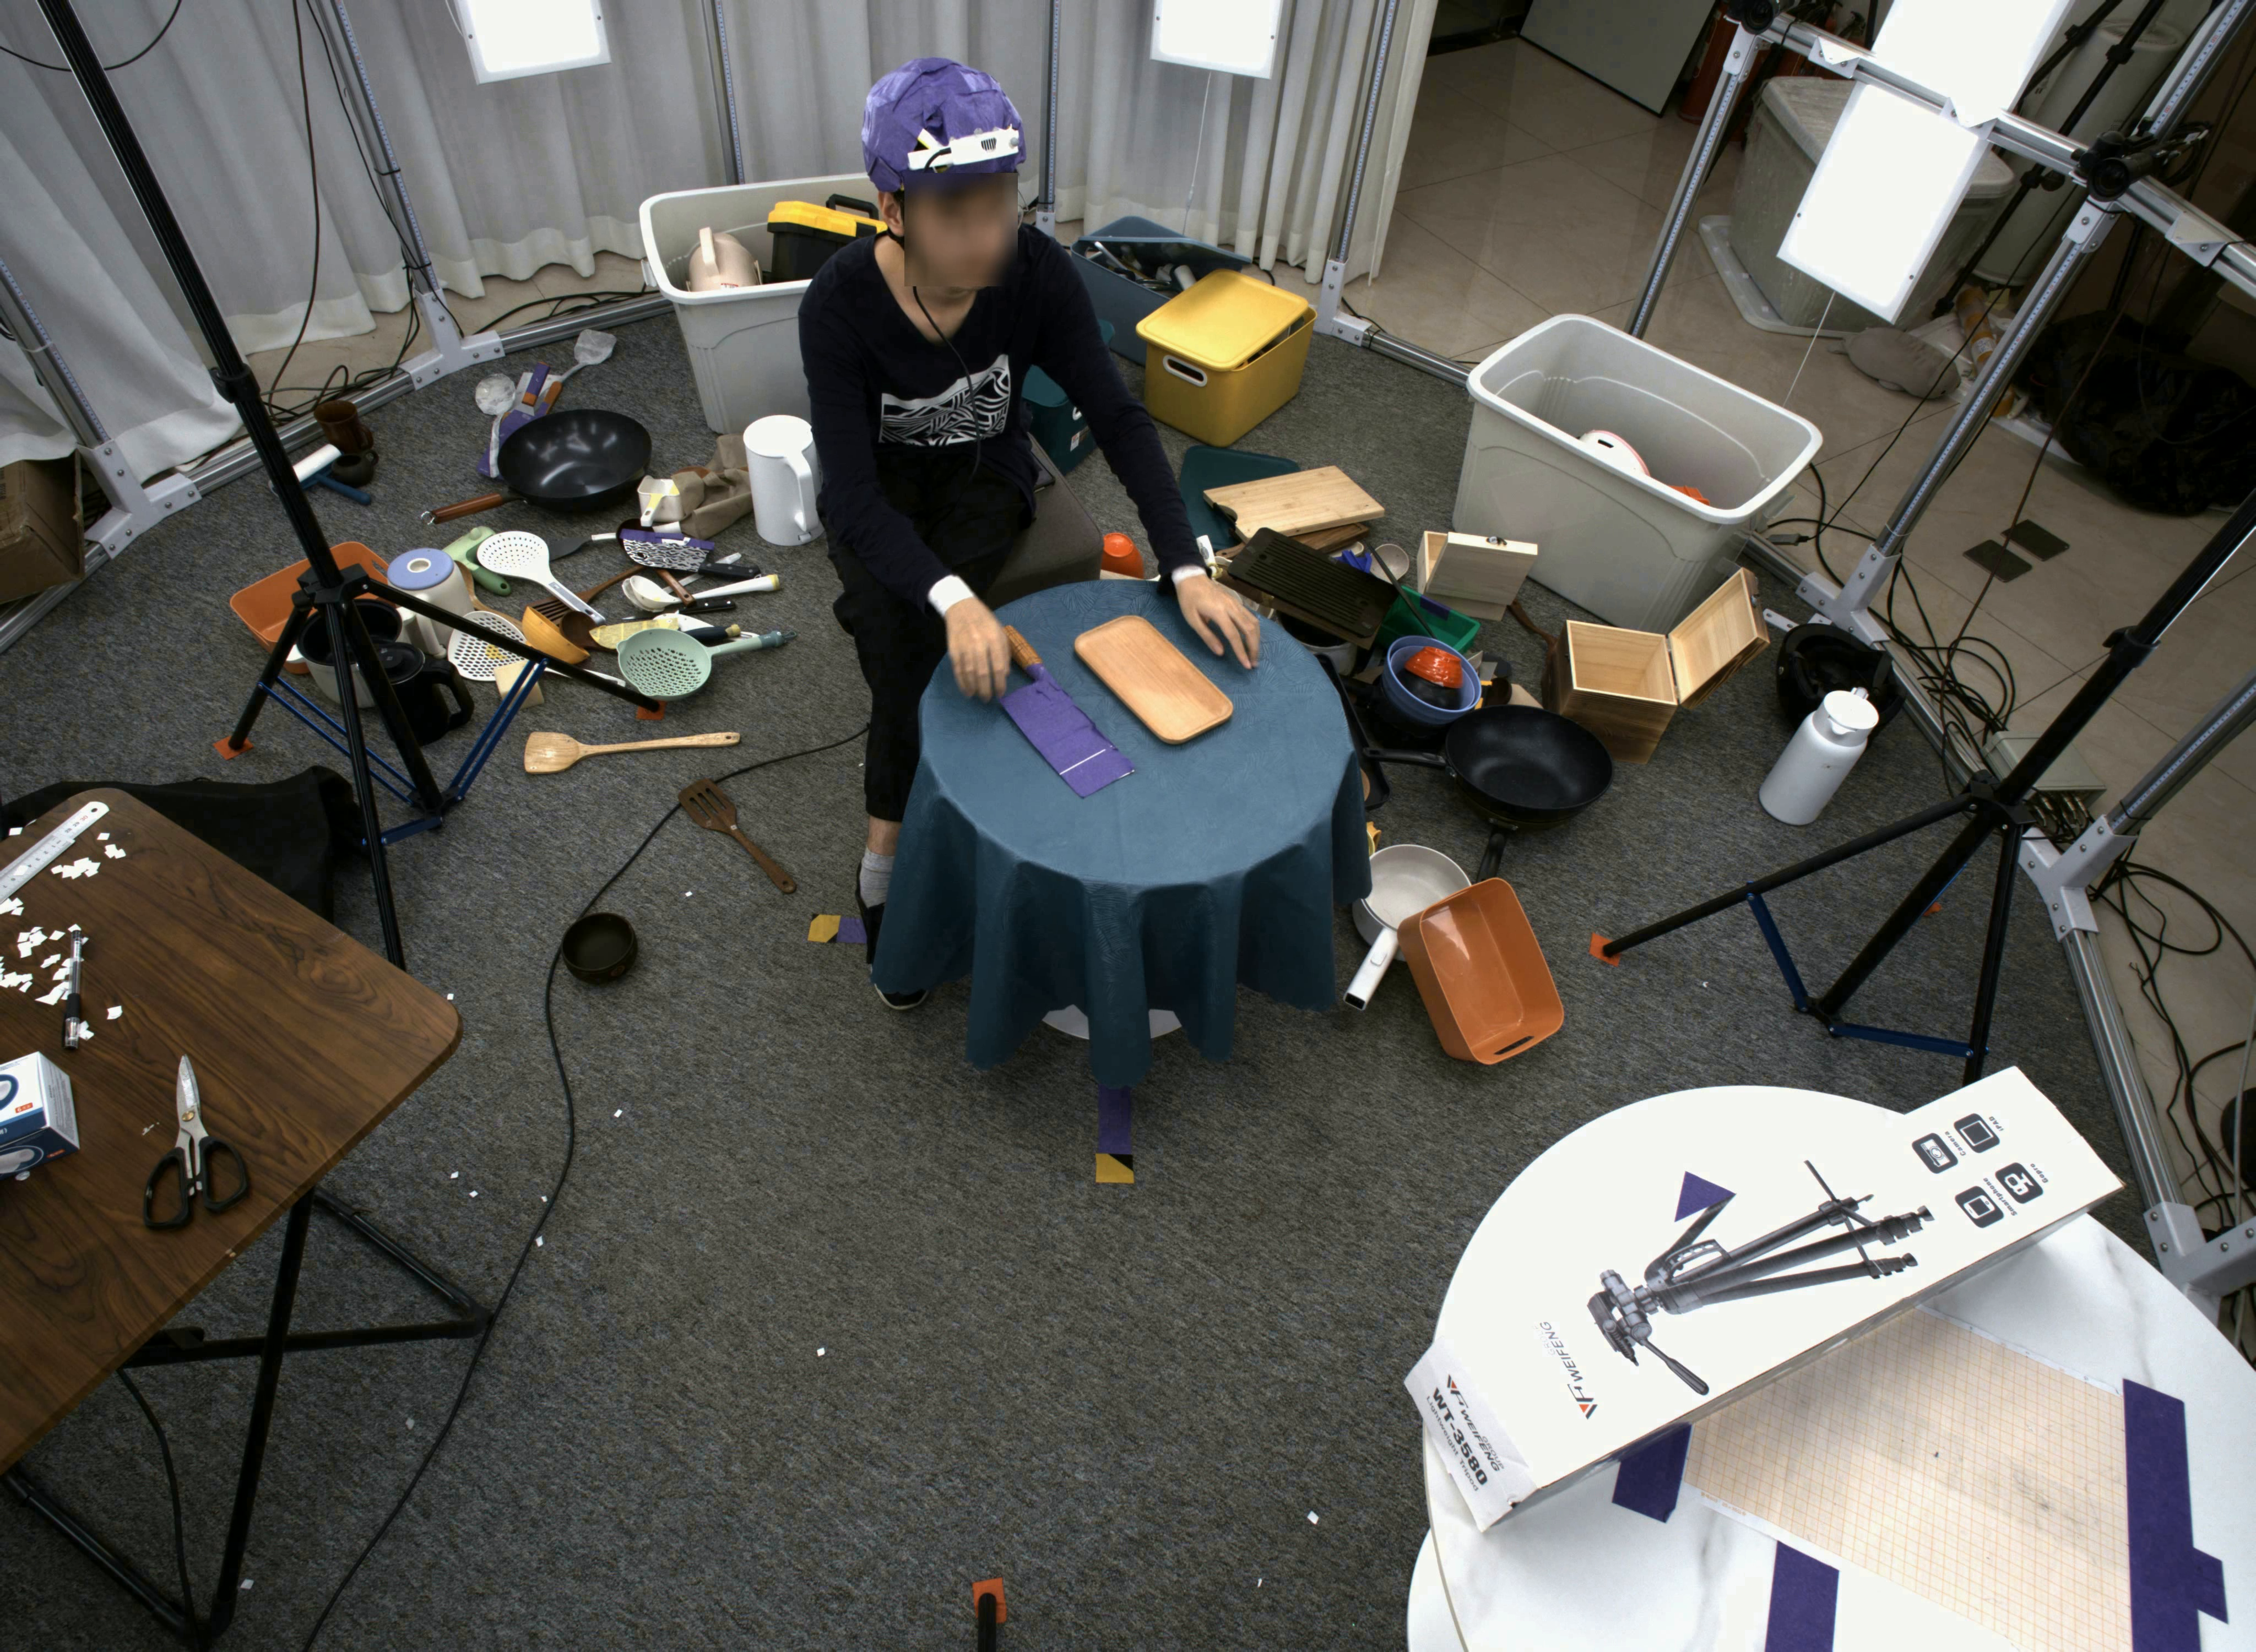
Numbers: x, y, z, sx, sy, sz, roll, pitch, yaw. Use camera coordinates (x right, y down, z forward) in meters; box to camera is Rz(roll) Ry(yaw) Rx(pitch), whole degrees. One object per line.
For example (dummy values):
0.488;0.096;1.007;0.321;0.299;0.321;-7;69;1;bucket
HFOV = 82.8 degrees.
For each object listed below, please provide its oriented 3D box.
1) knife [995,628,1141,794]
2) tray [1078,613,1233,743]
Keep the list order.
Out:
-0.113;-0.164;1.784;0.104;0.031;0.321;-27;56;-24;knife
0.037;-0.215;1.846;0.131;0.022;0.256;-23;53;-24;tray
